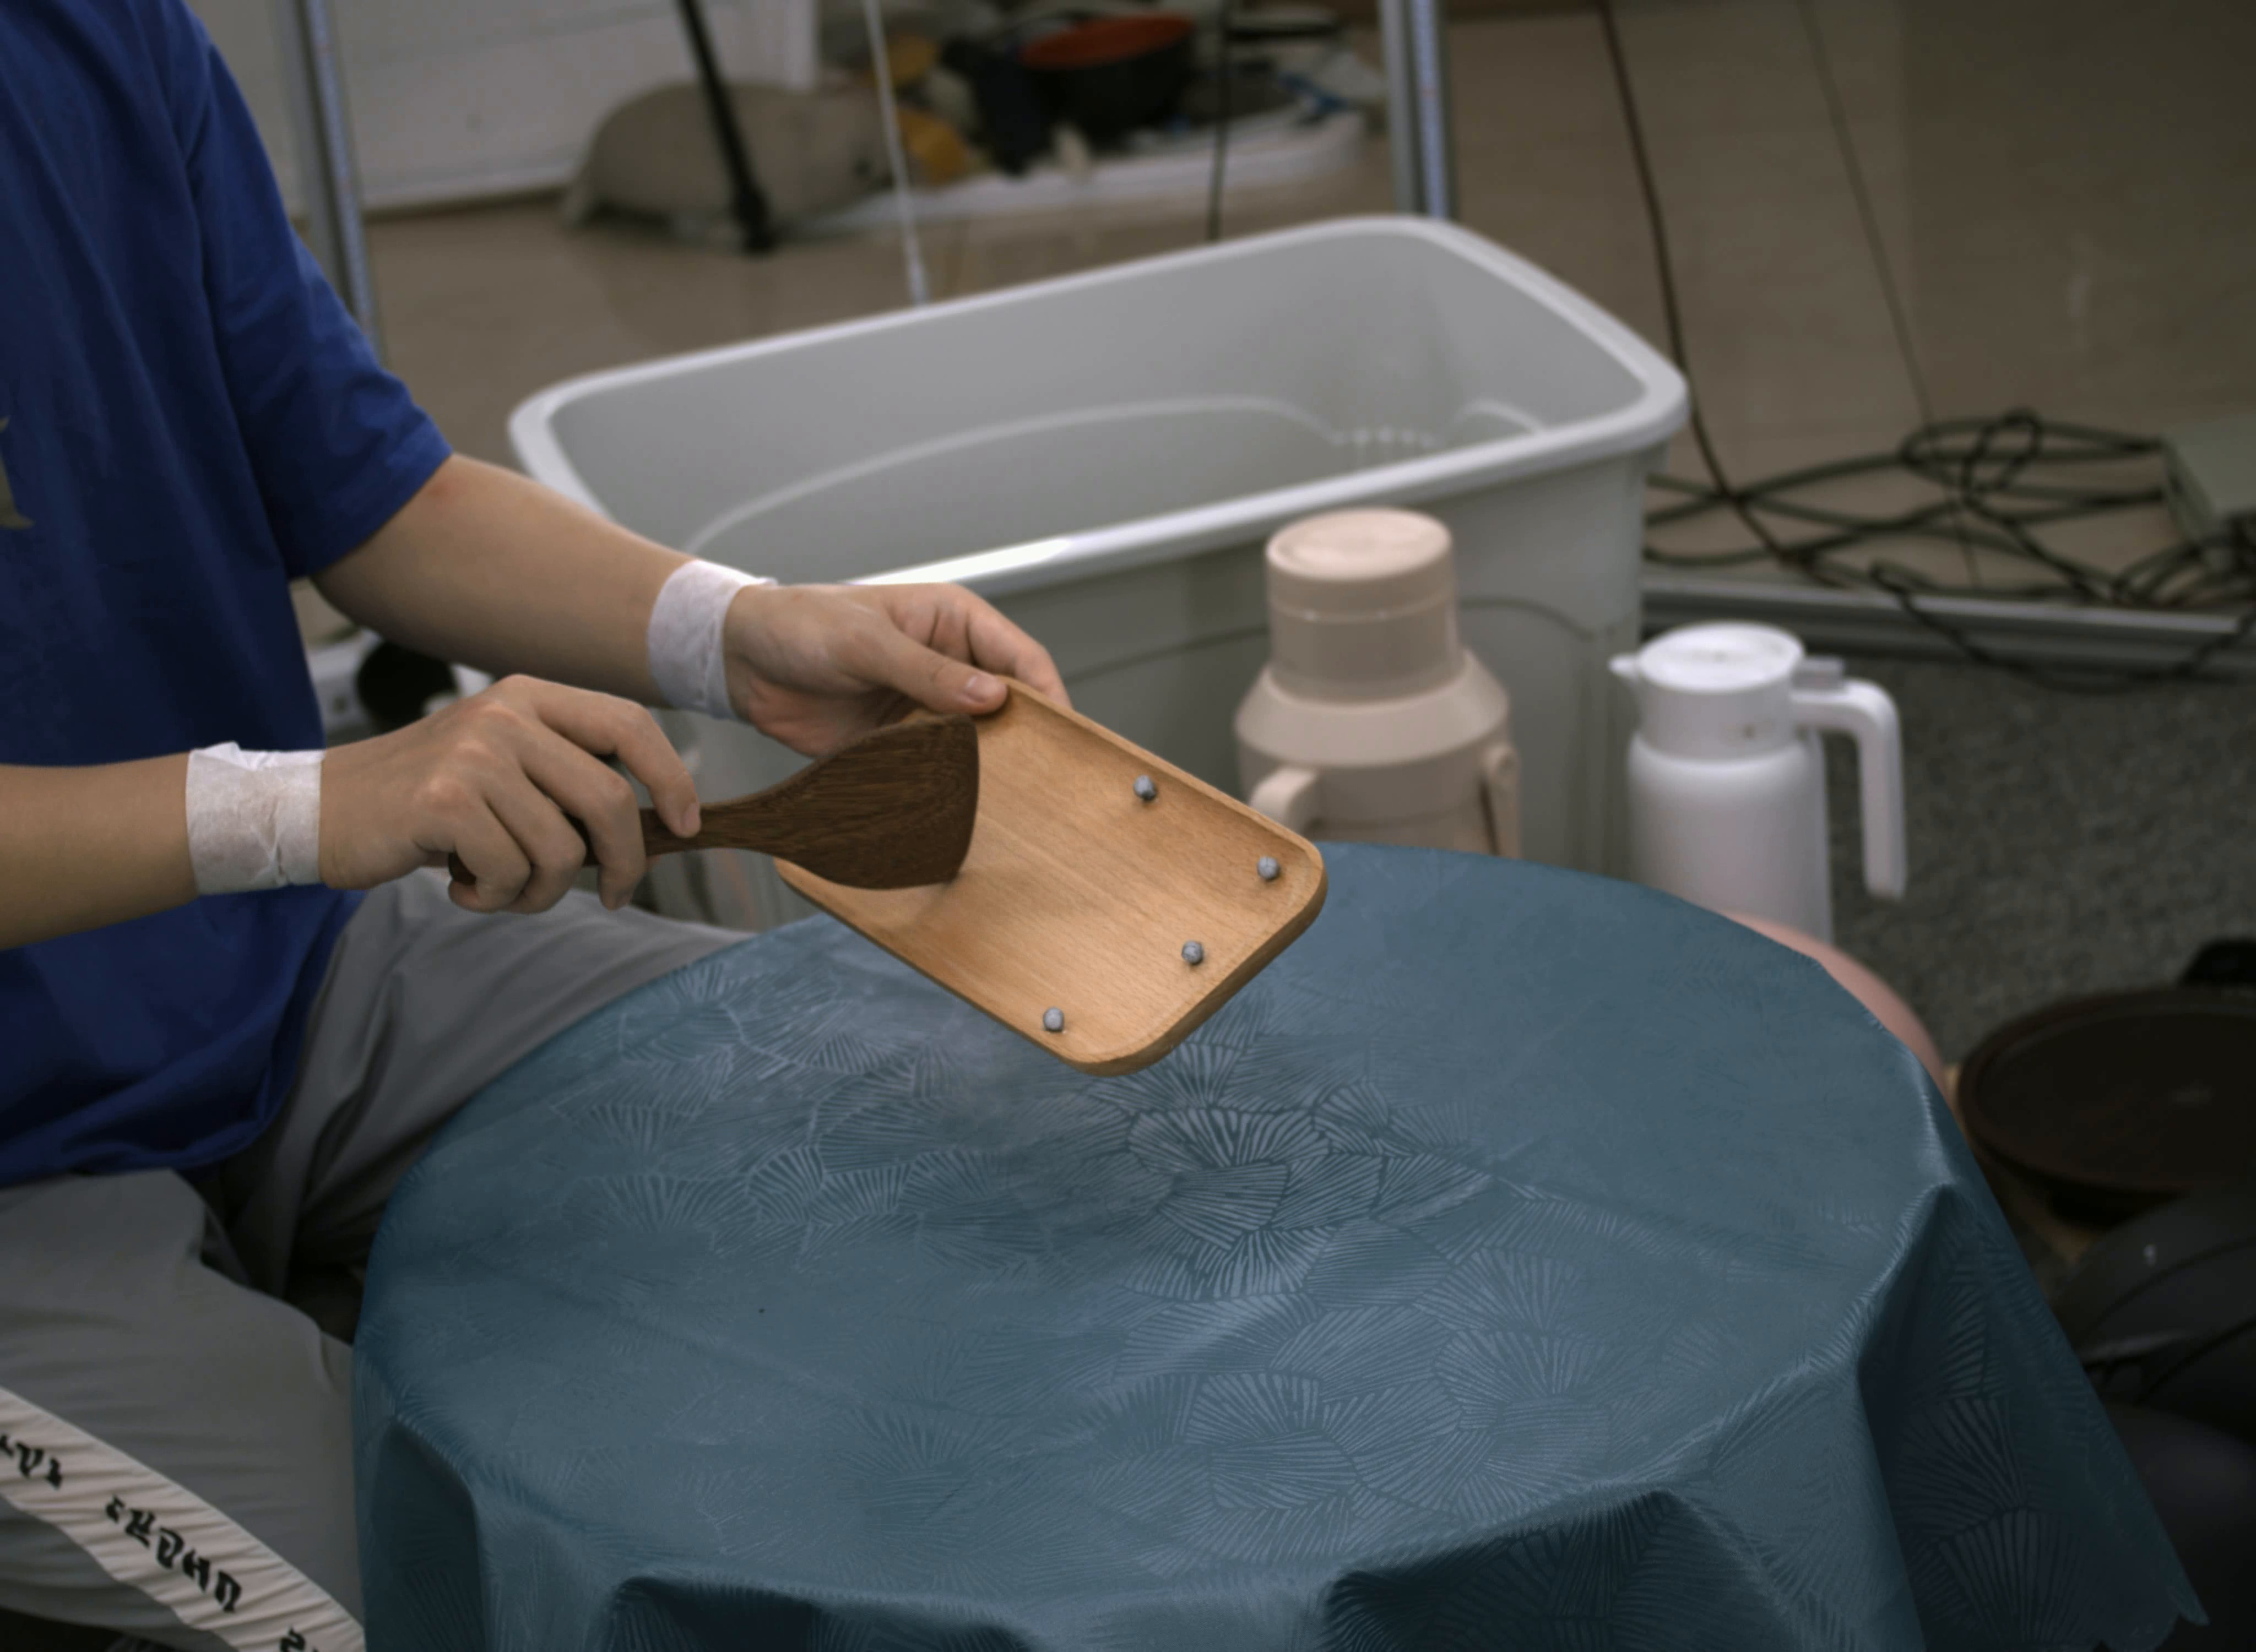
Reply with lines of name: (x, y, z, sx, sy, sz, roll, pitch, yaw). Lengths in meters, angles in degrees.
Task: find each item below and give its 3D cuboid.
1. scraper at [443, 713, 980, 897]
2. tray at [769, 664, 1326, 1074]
scraper: (-0.156, 0.001, 2.144, 0.211, 0.077, 0.010, -6, 32, -18)
tray: (-0.033, 0.015, 2.179, 0.130, 0.023, 0.248, -39, 38, -16)
